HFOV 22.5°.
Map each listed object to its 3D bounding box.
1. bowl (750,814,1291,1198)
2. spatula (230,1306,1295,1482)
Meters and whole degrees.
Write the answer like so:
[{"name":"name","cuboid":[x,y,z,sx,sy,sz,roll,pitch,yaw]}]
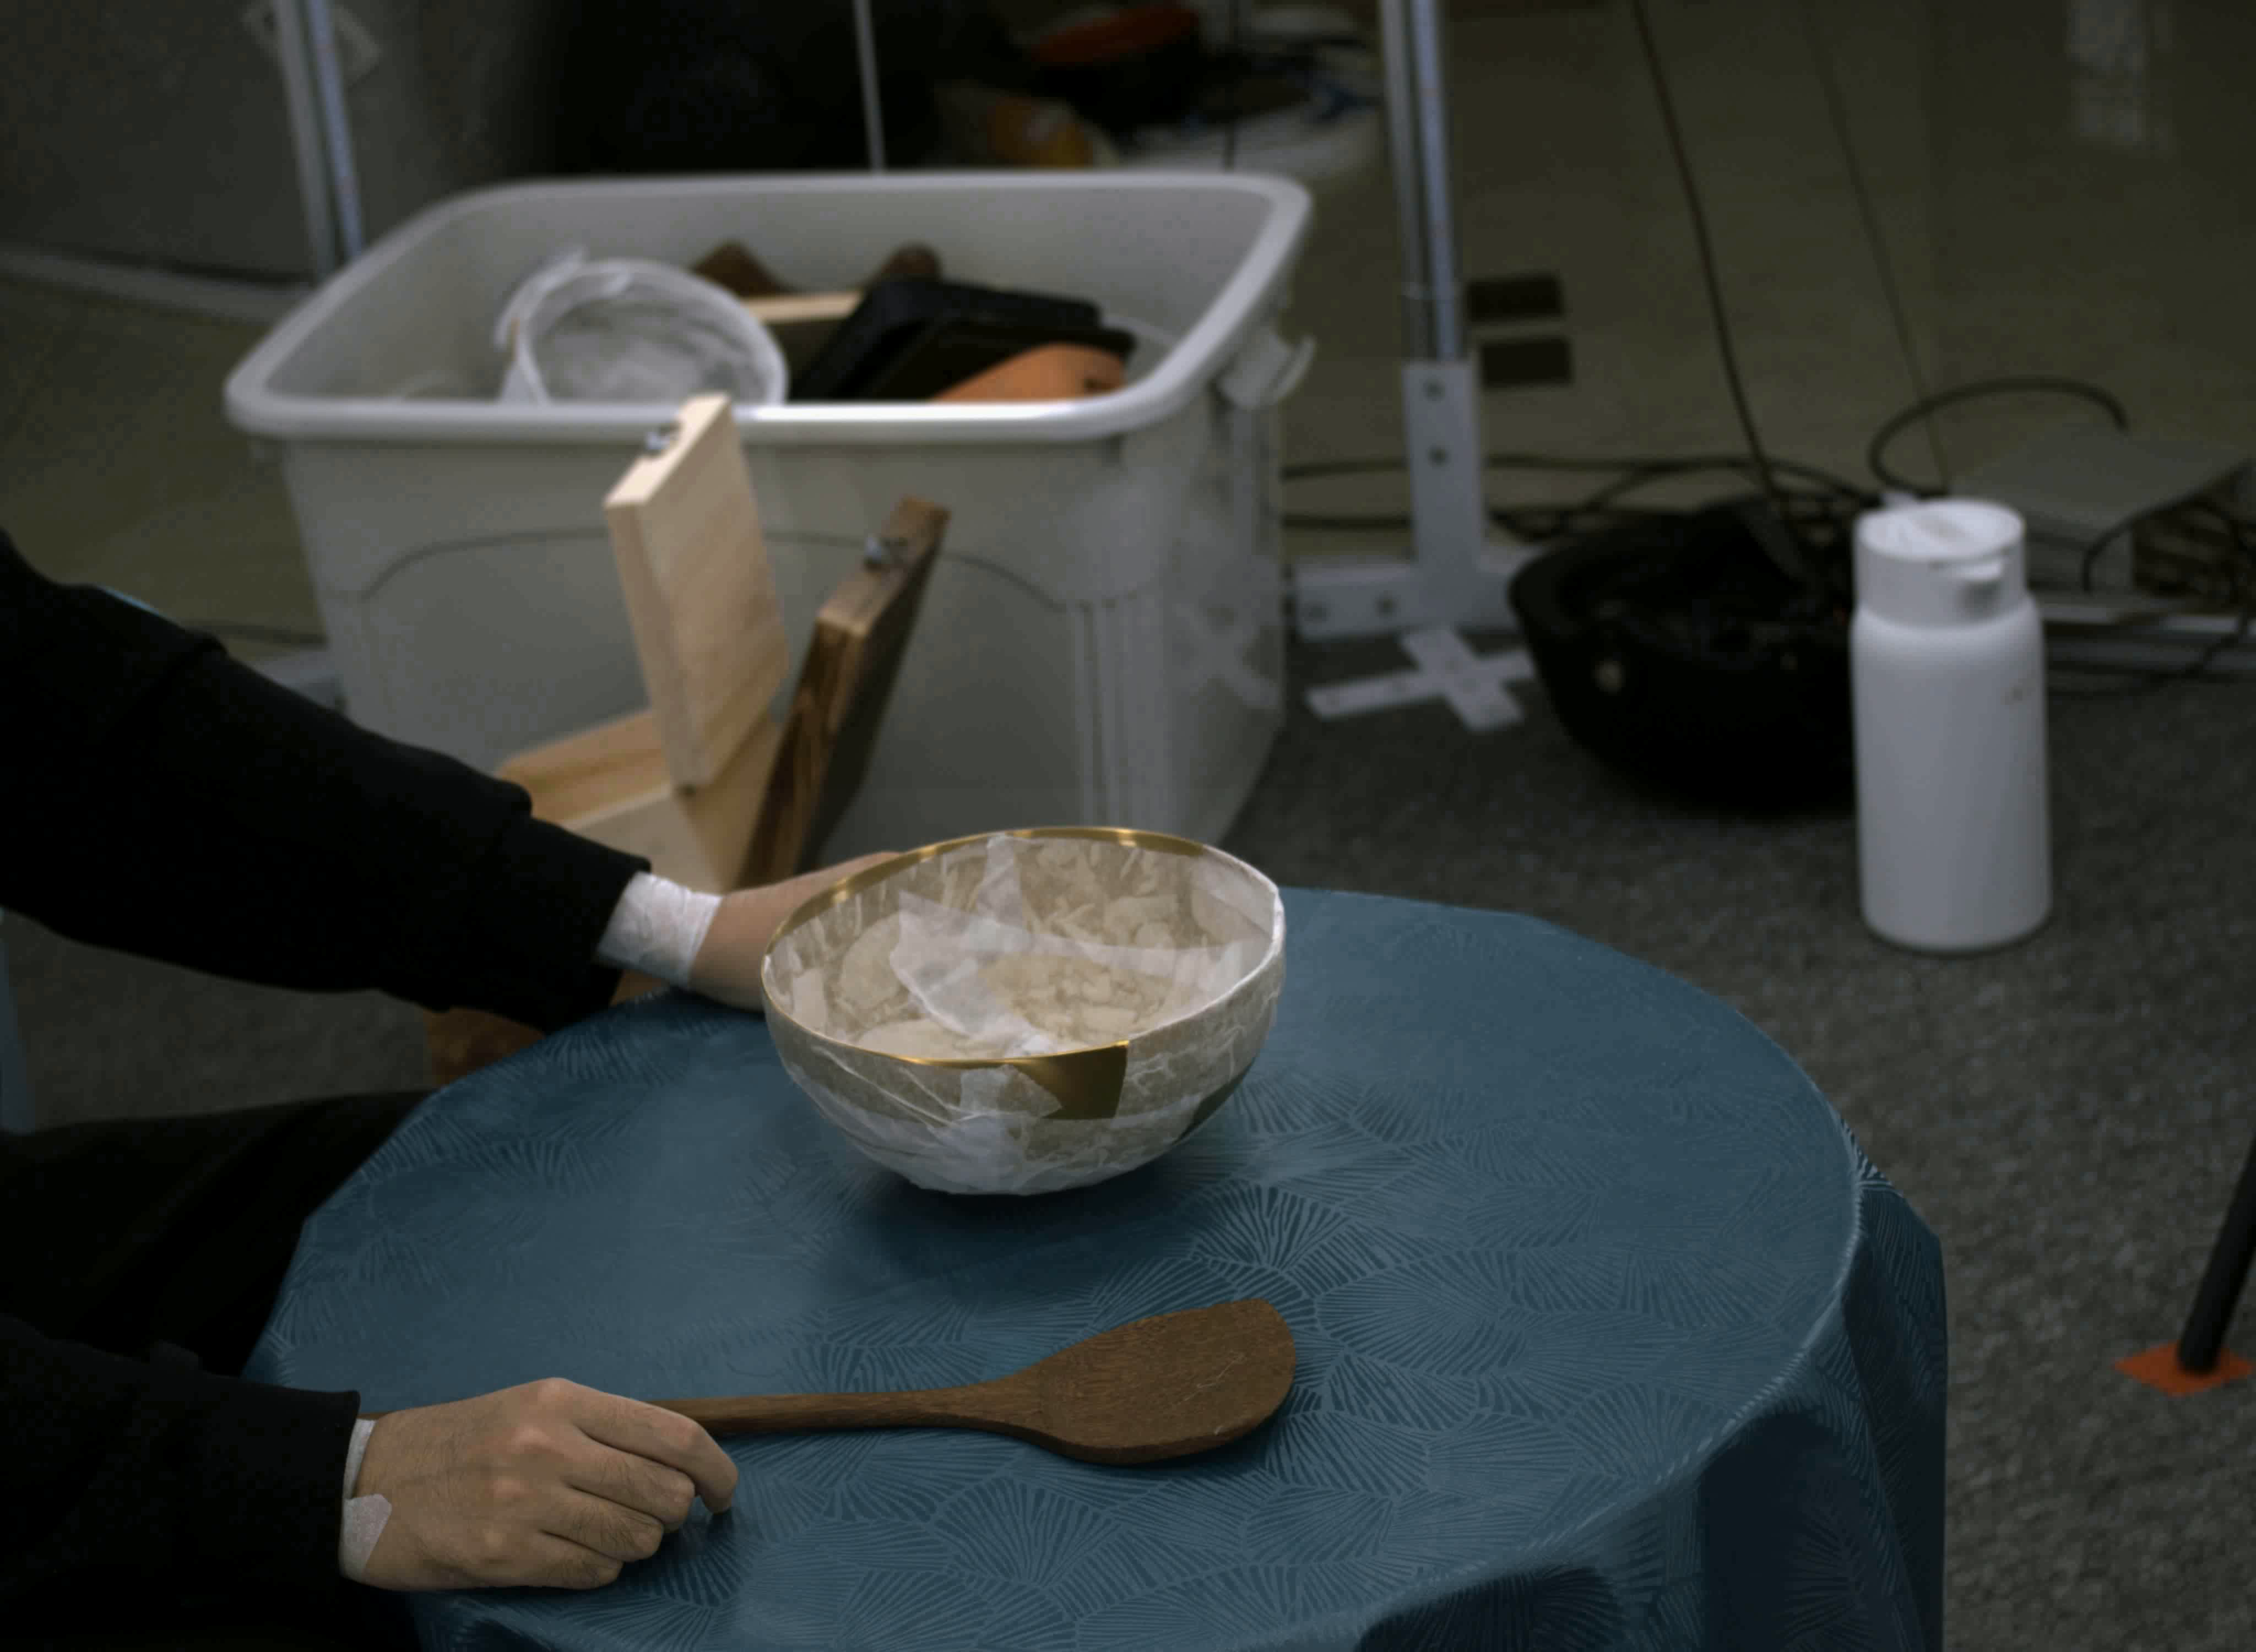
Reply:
[{"name":"bowl","cuboid":[-0.037,0.082,2.174,0.214,0.096,0.211,-6,26,3]},{"name":"spatula","cuboid":[-0.132,0.210,2.019,0.385,0.016,0.095,-4,24,6]}]
